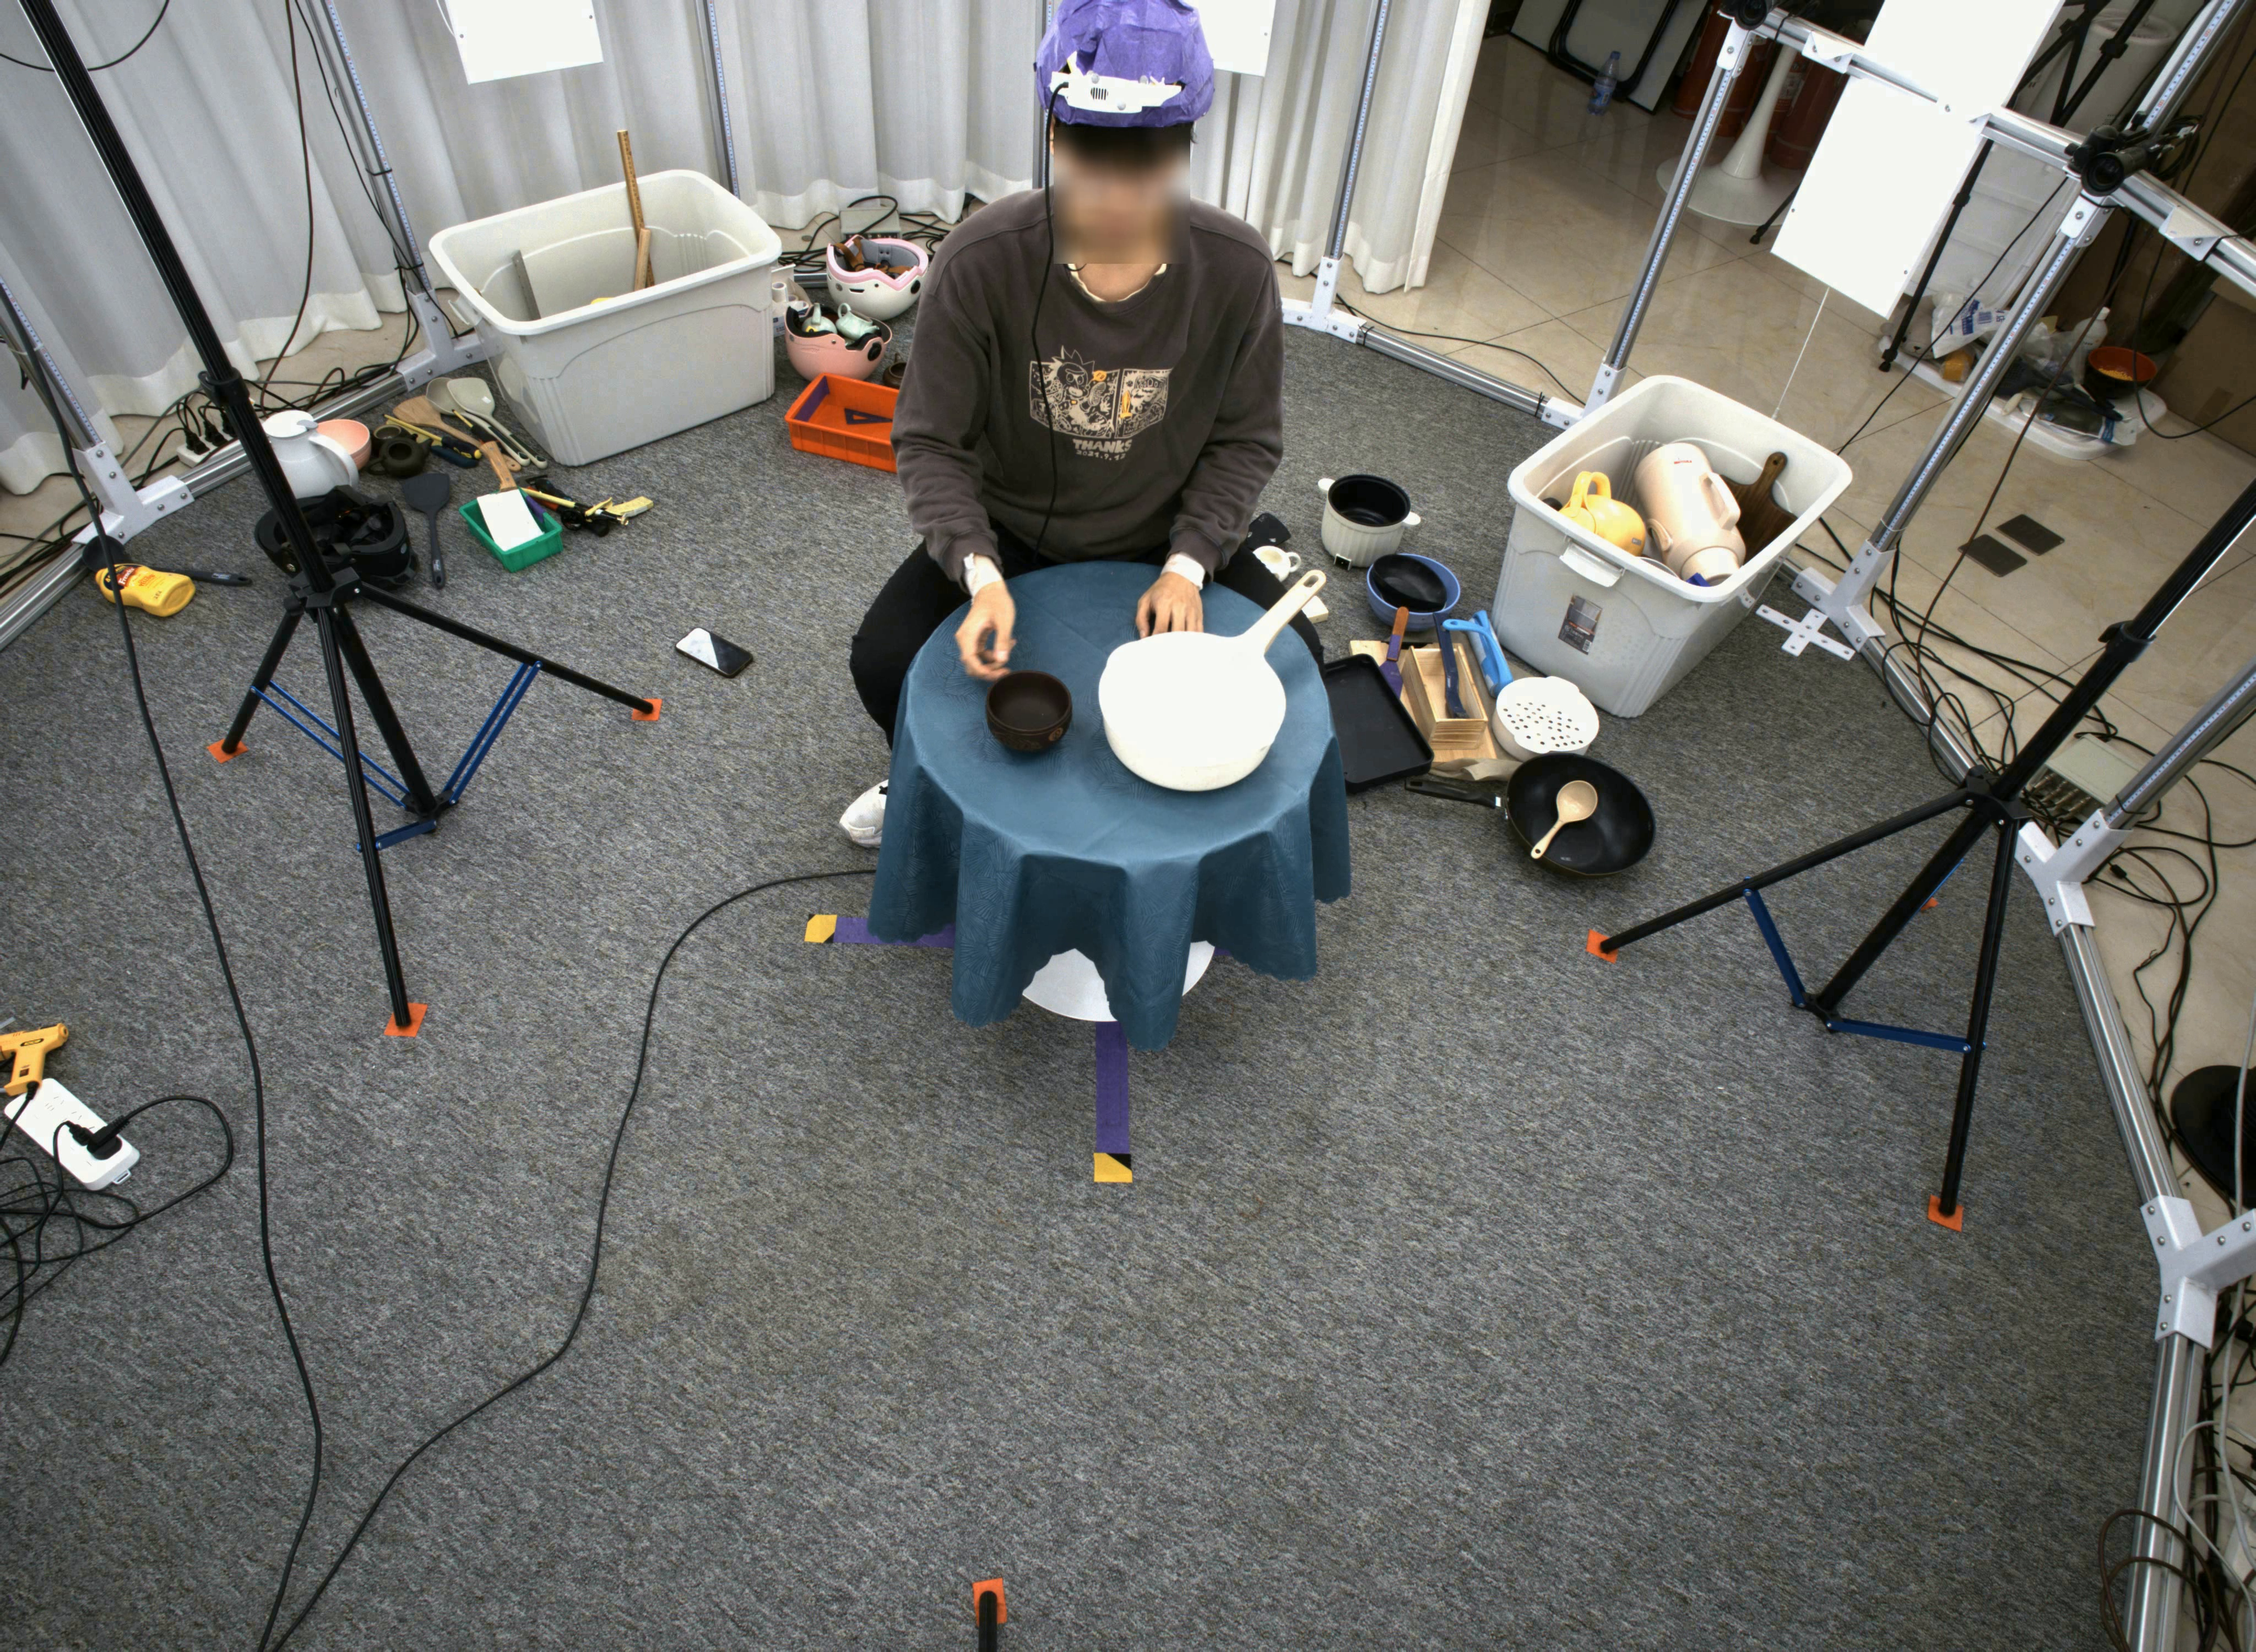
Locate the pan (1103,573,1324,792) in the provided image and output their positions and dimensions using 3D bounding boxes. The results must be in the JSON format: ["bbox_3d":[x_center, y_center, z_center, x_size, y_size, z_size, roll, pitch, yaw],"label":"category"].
[{"bbox_3d":[0.146,-0.207,1.791,0.266,0.099,0.440,31,54,24],"label":"pan"}]

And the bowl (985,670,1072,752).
[{"bbox_3d":[-0.134,-0.148,1.740,0.118,0.068,0.121,1,48,-1],"label":"bowl"}]
